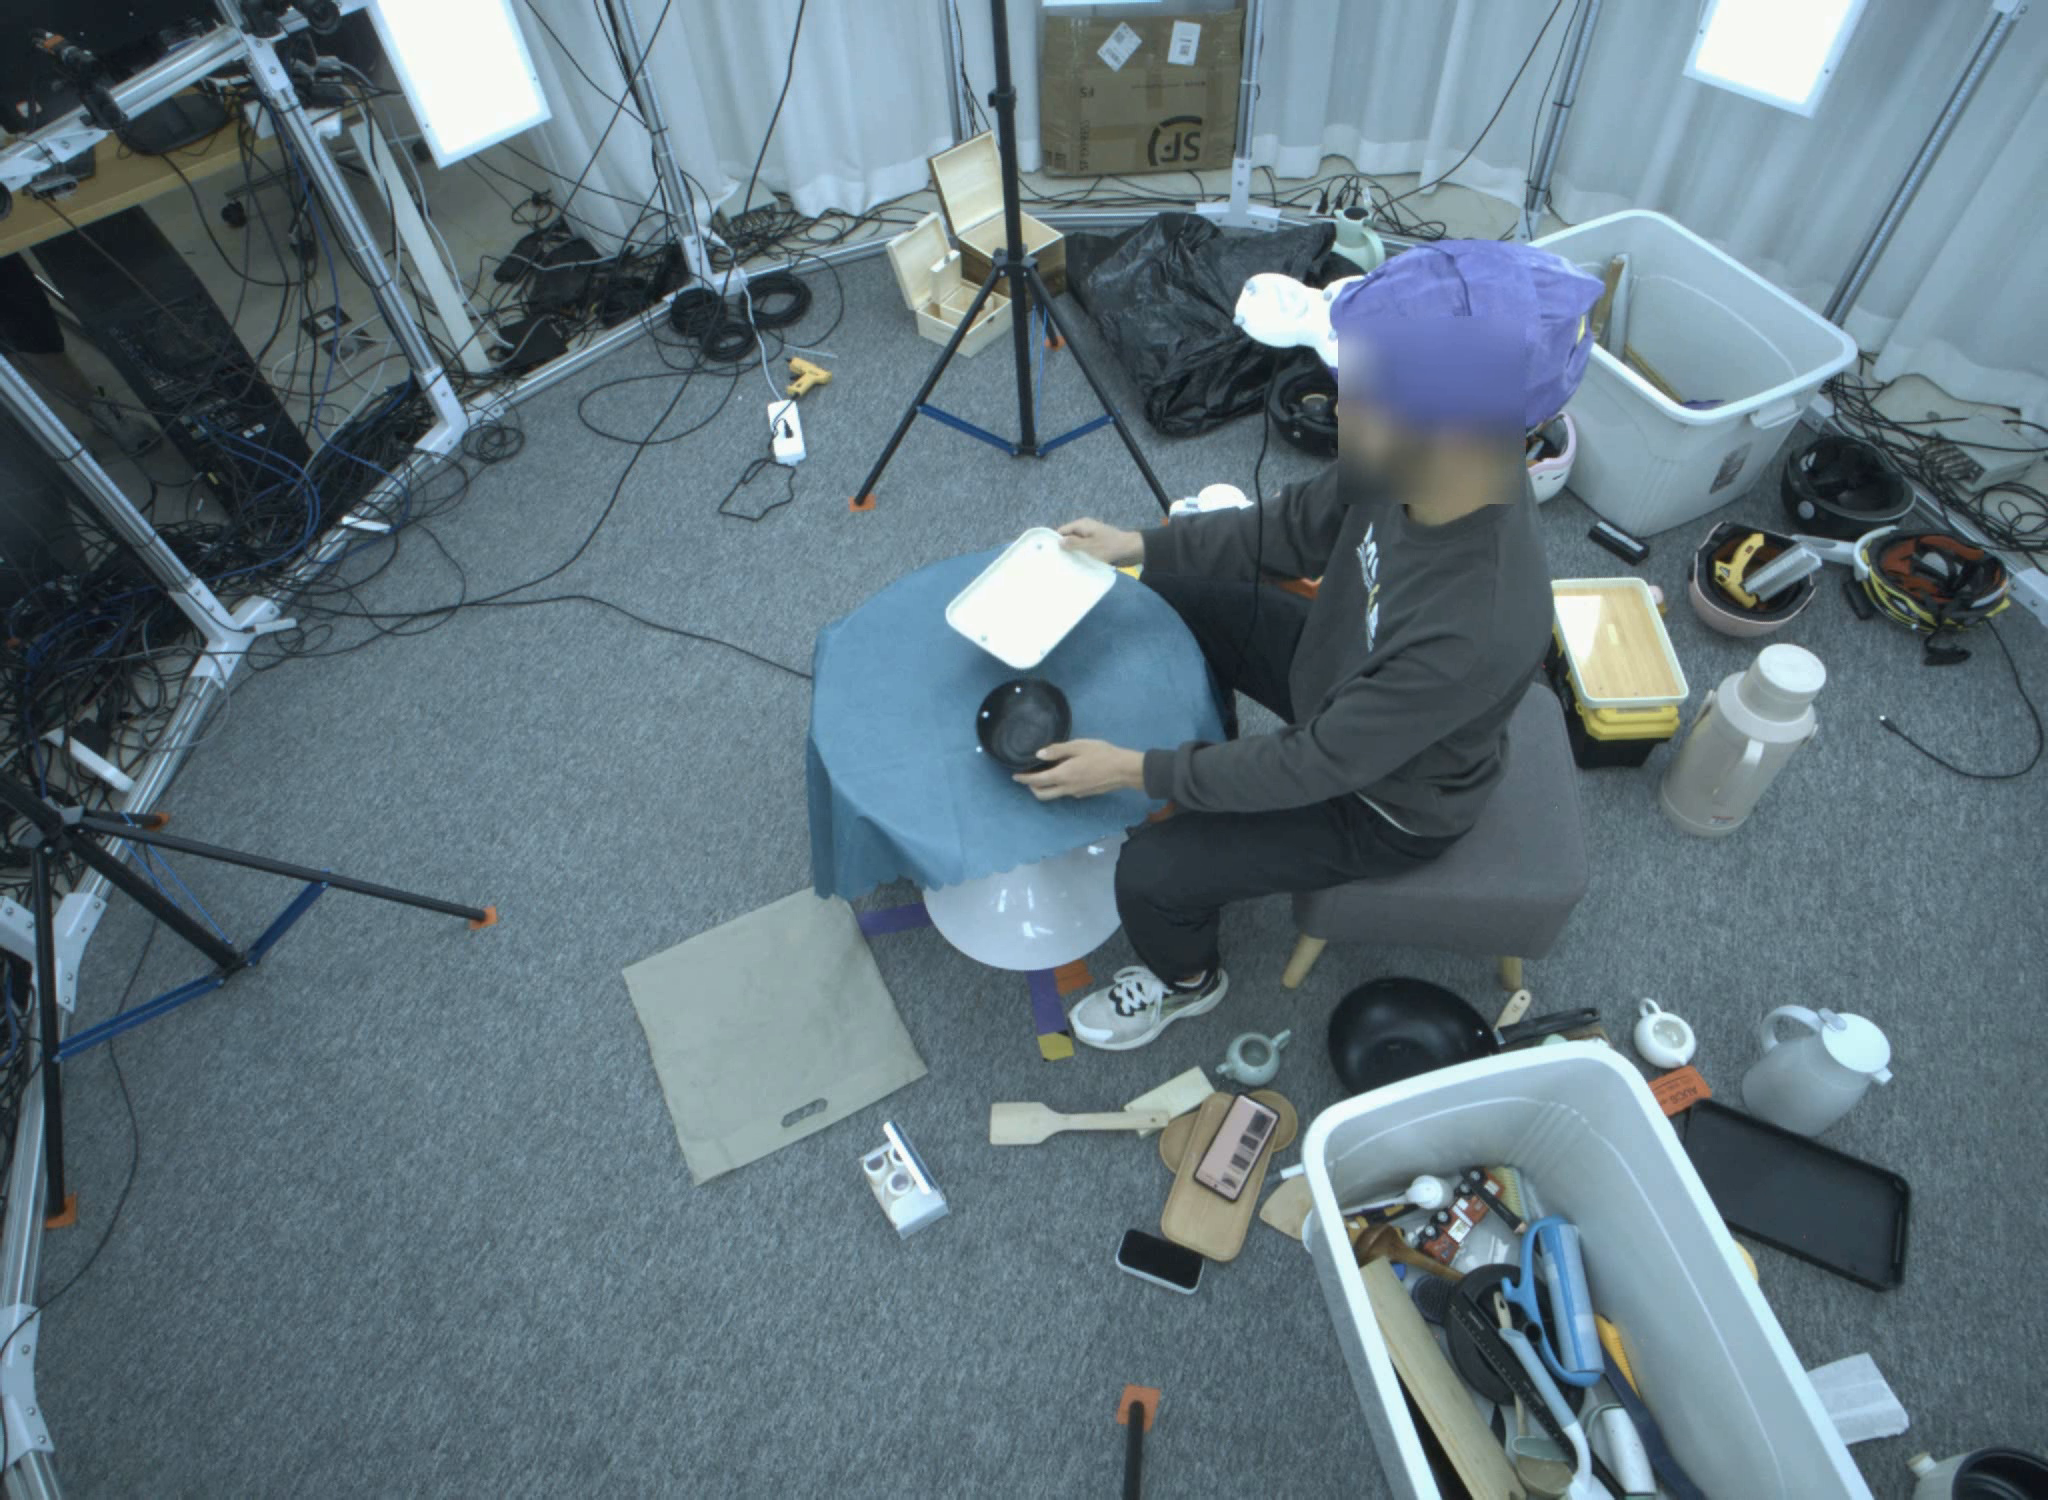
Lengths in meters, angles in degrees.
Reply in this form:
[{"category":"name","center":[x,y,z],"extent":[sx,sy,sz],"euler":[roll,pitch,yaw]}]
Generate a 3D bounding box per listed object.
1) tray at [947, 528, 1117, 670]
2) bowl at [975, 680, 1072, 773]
[{"category":"tray","center":[0.013,-0.227,1.835],"extent":[0.169,0.017,0.241],"euler":[34,65,18]},{"category":"bowl","center":[0.001,-0.027,1.767],"extent":[0.137,0.067,0.169],"euler":[7,53,5]}]
